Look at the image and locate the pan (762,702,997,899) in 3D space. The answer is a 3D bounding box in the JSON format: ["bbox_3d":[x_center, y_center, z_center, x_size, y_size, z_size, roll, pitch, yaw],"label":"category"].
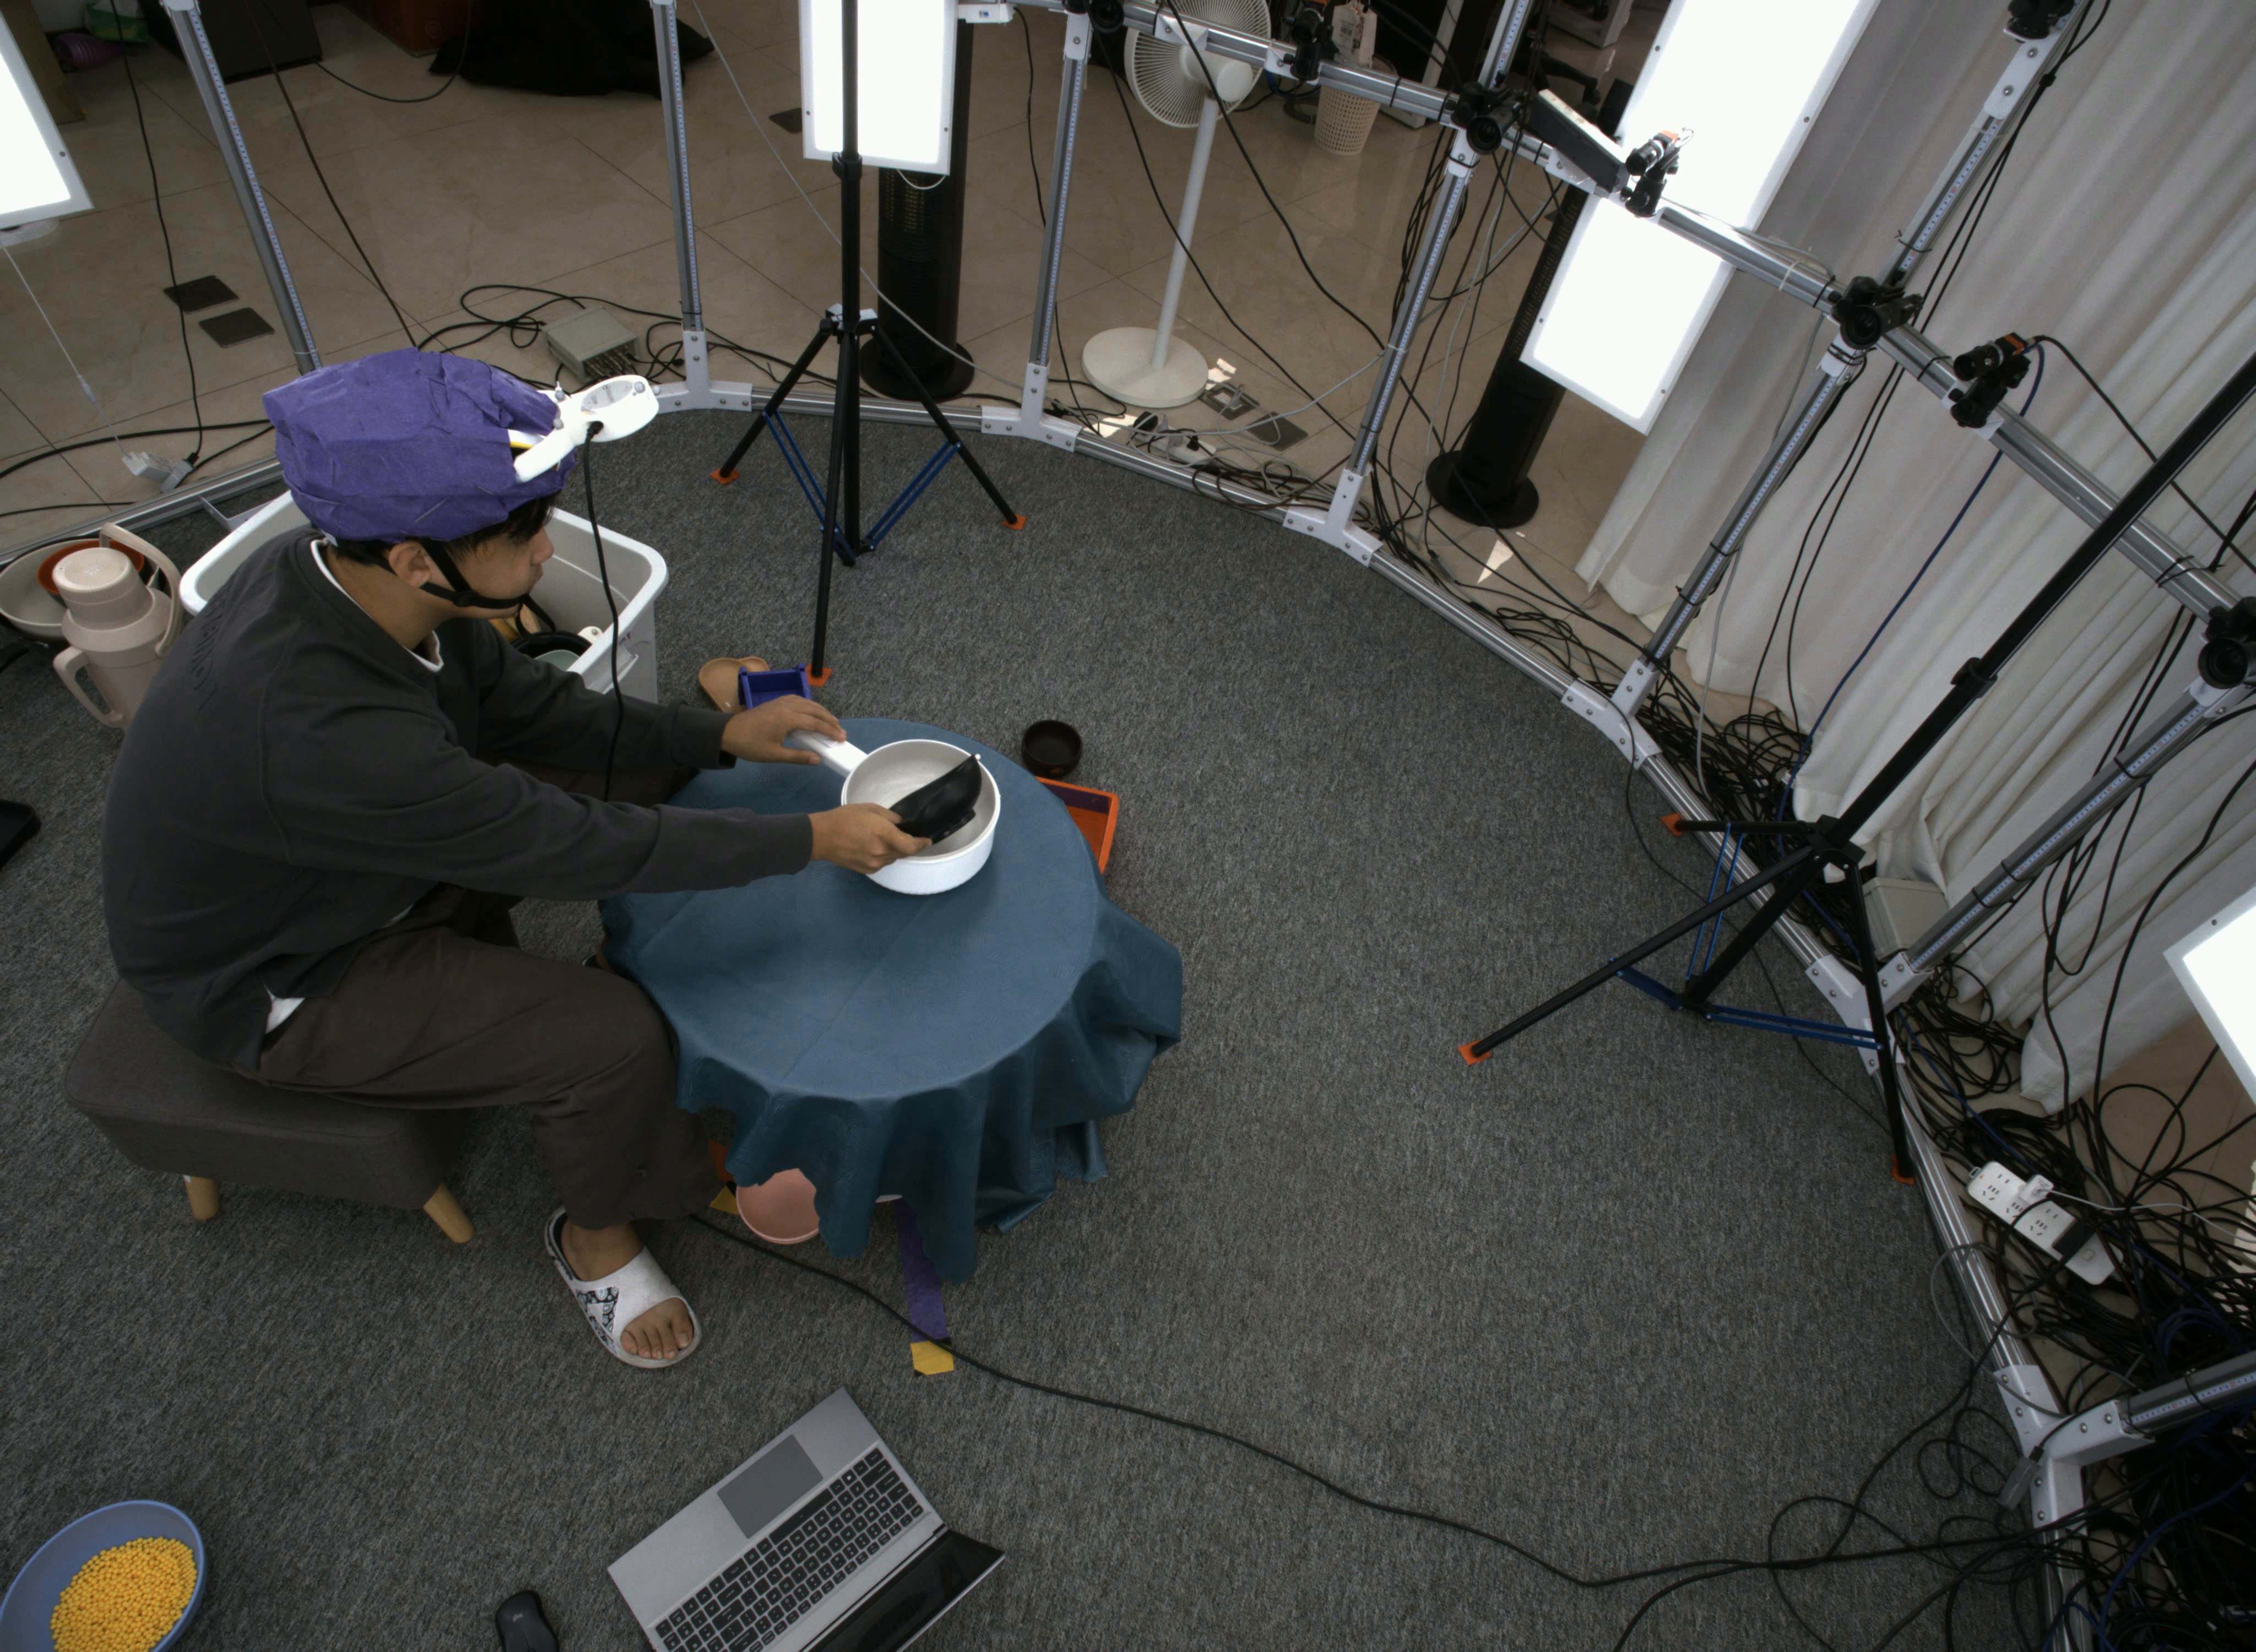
[{"bbox_3d":[-0.335,-0.041,1.720,0.348,0.104,0.201,30,56,12],"label":"pan"}]

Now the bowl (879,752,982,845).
[{"bbox_3d":[-0.231,-0.025,1.601,0.068,0.136,0.169,55,20,-11],"label":"bowl"}]
